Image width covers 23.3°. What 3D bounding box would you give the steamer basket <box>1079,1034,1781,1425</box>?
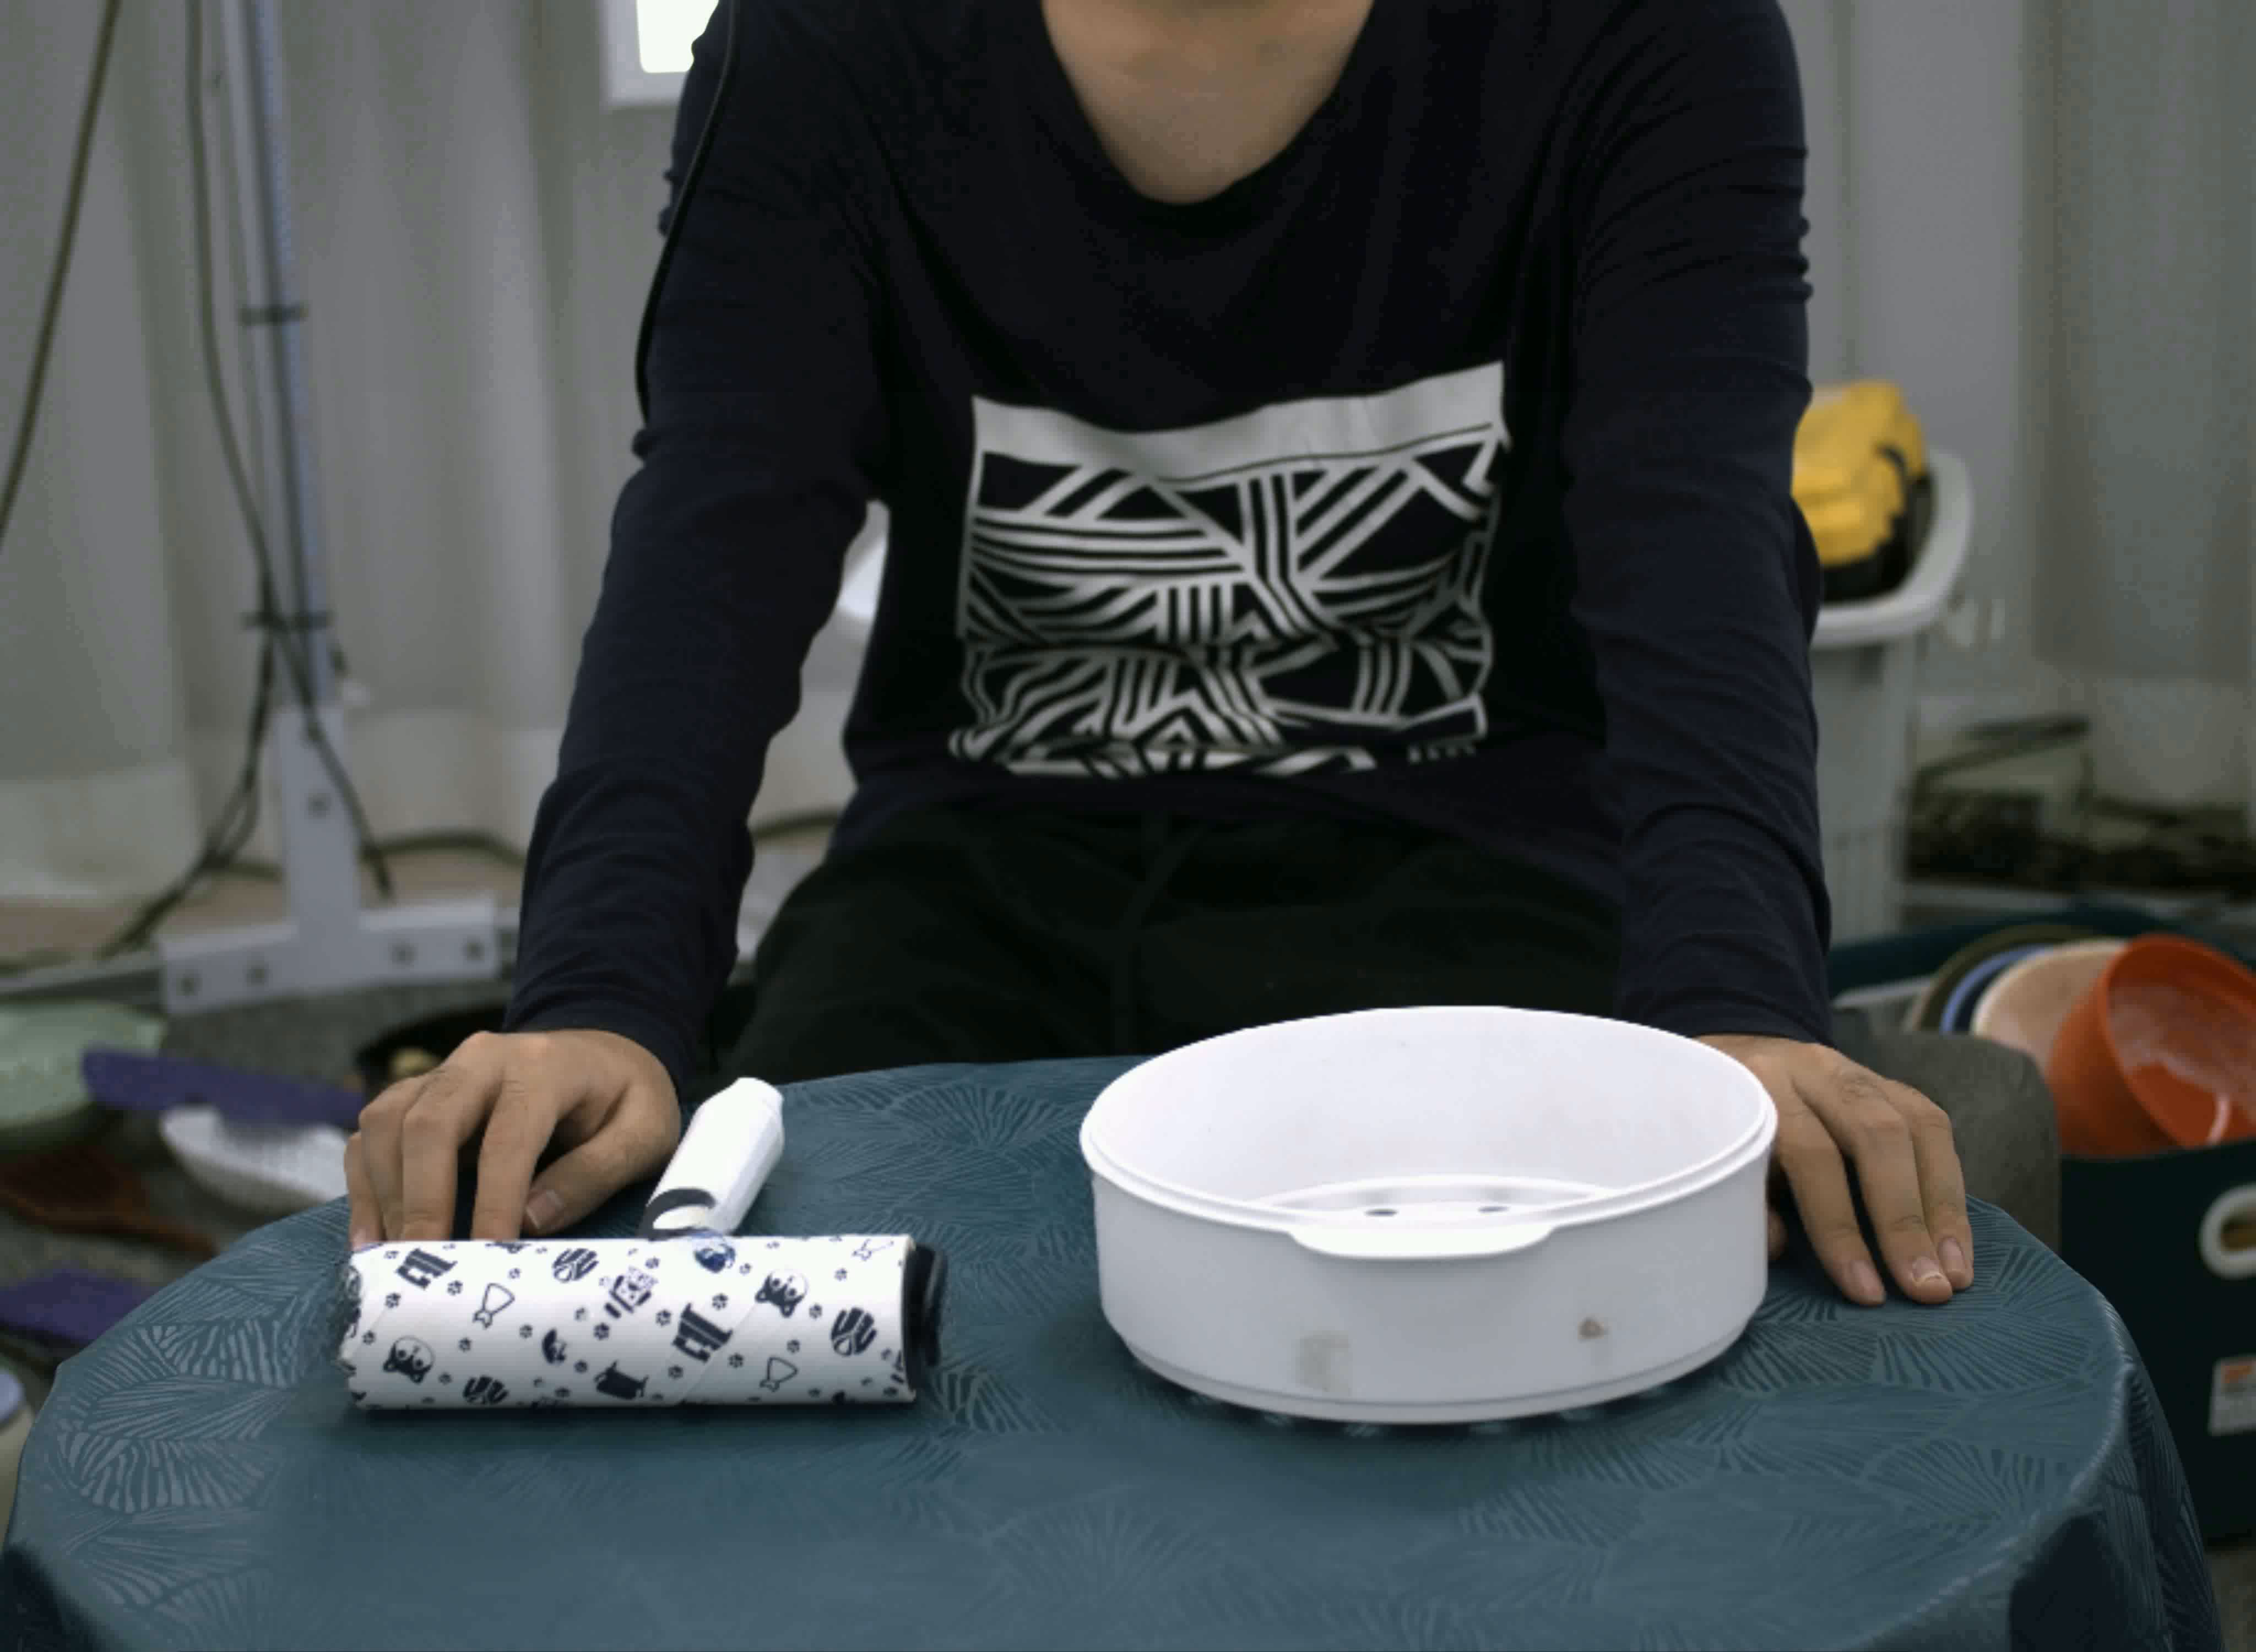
[{"bbox_3d":[0.087,0.115,1.574,0.201,0.069,0.231,-1,12,5],"label":"steamer basket"}]

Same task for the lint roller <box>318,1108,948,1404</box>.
[{"bbox_3d":[-0.134,0.118,1.651,0.176,0.050,0.248,-2,12,4],"label":"lint roller"}]
